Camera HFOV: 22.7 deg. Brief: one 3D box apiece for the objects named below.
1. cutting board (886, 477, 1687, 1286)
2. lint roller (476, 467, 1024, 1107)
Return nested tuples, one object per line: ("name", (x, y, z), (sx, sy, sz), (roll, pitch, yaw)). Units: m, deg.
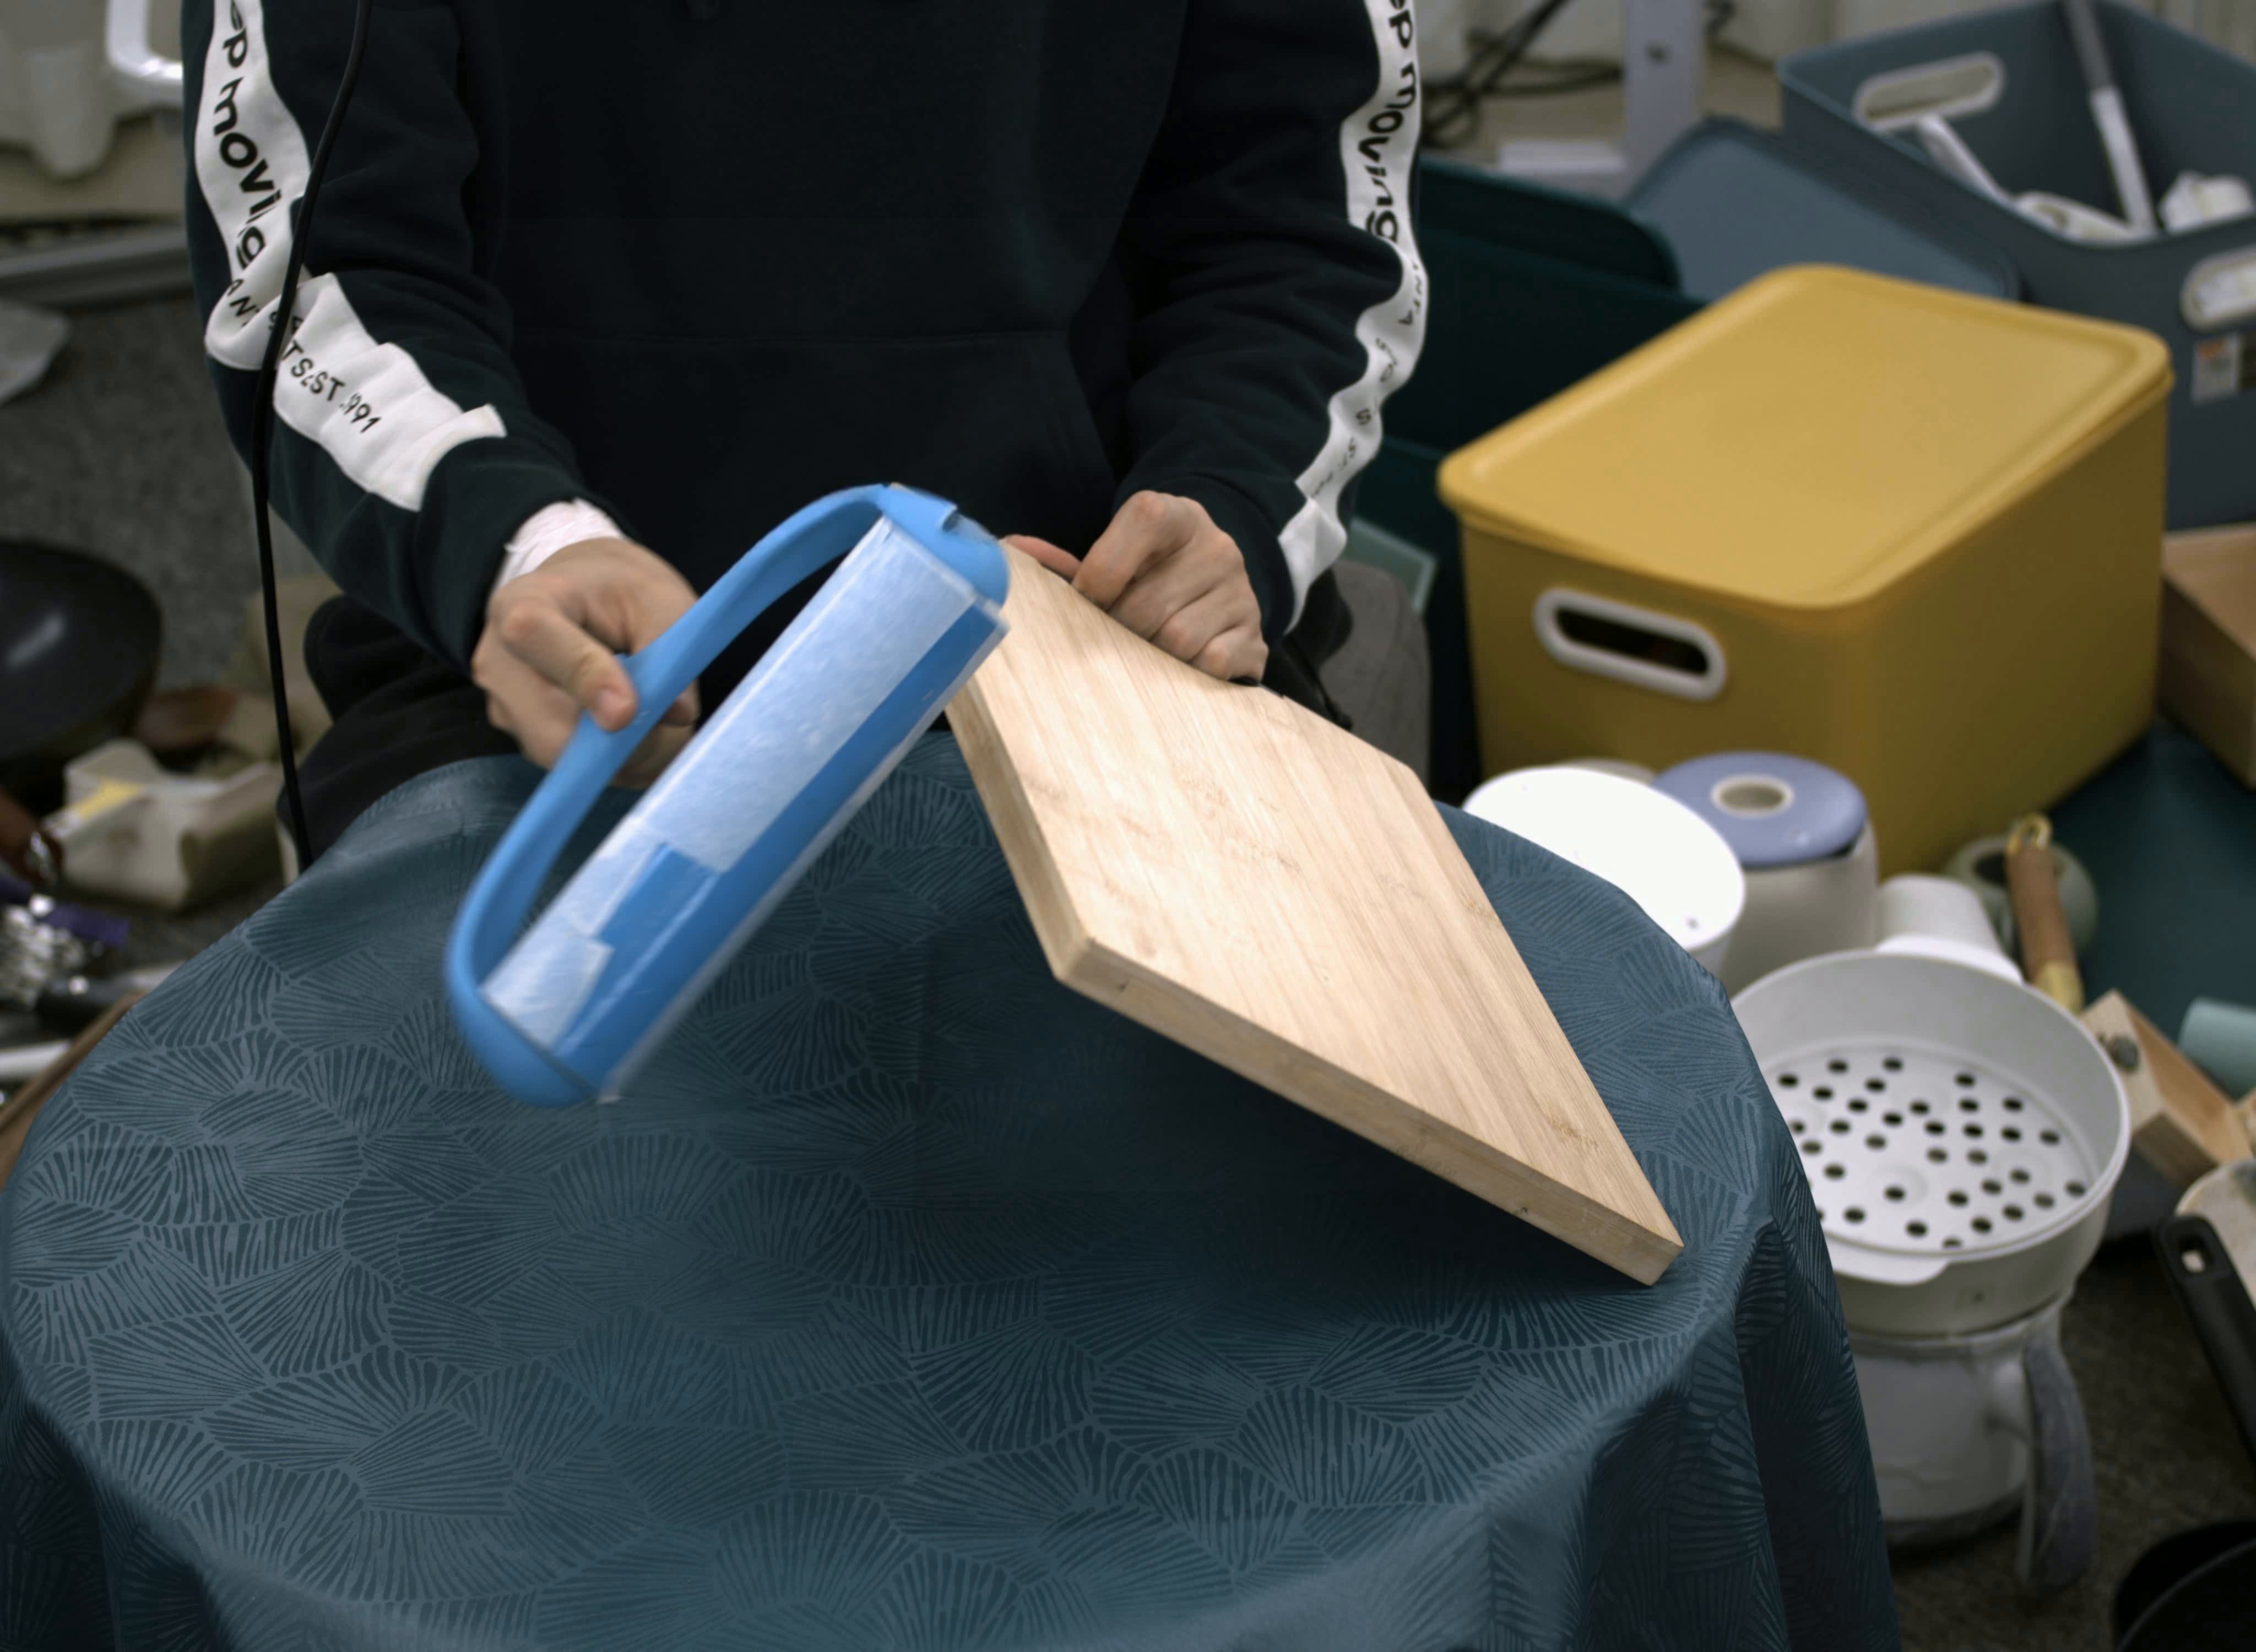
("cutting board", (0.041, 0.012, 1.894), (0.249, 0.023, 0.353), (29, 17, -26))
("lint roller", (-0.138, -0.026, 1.785), (0.230, 0.067, 0.180), (-54, 31, -4))
